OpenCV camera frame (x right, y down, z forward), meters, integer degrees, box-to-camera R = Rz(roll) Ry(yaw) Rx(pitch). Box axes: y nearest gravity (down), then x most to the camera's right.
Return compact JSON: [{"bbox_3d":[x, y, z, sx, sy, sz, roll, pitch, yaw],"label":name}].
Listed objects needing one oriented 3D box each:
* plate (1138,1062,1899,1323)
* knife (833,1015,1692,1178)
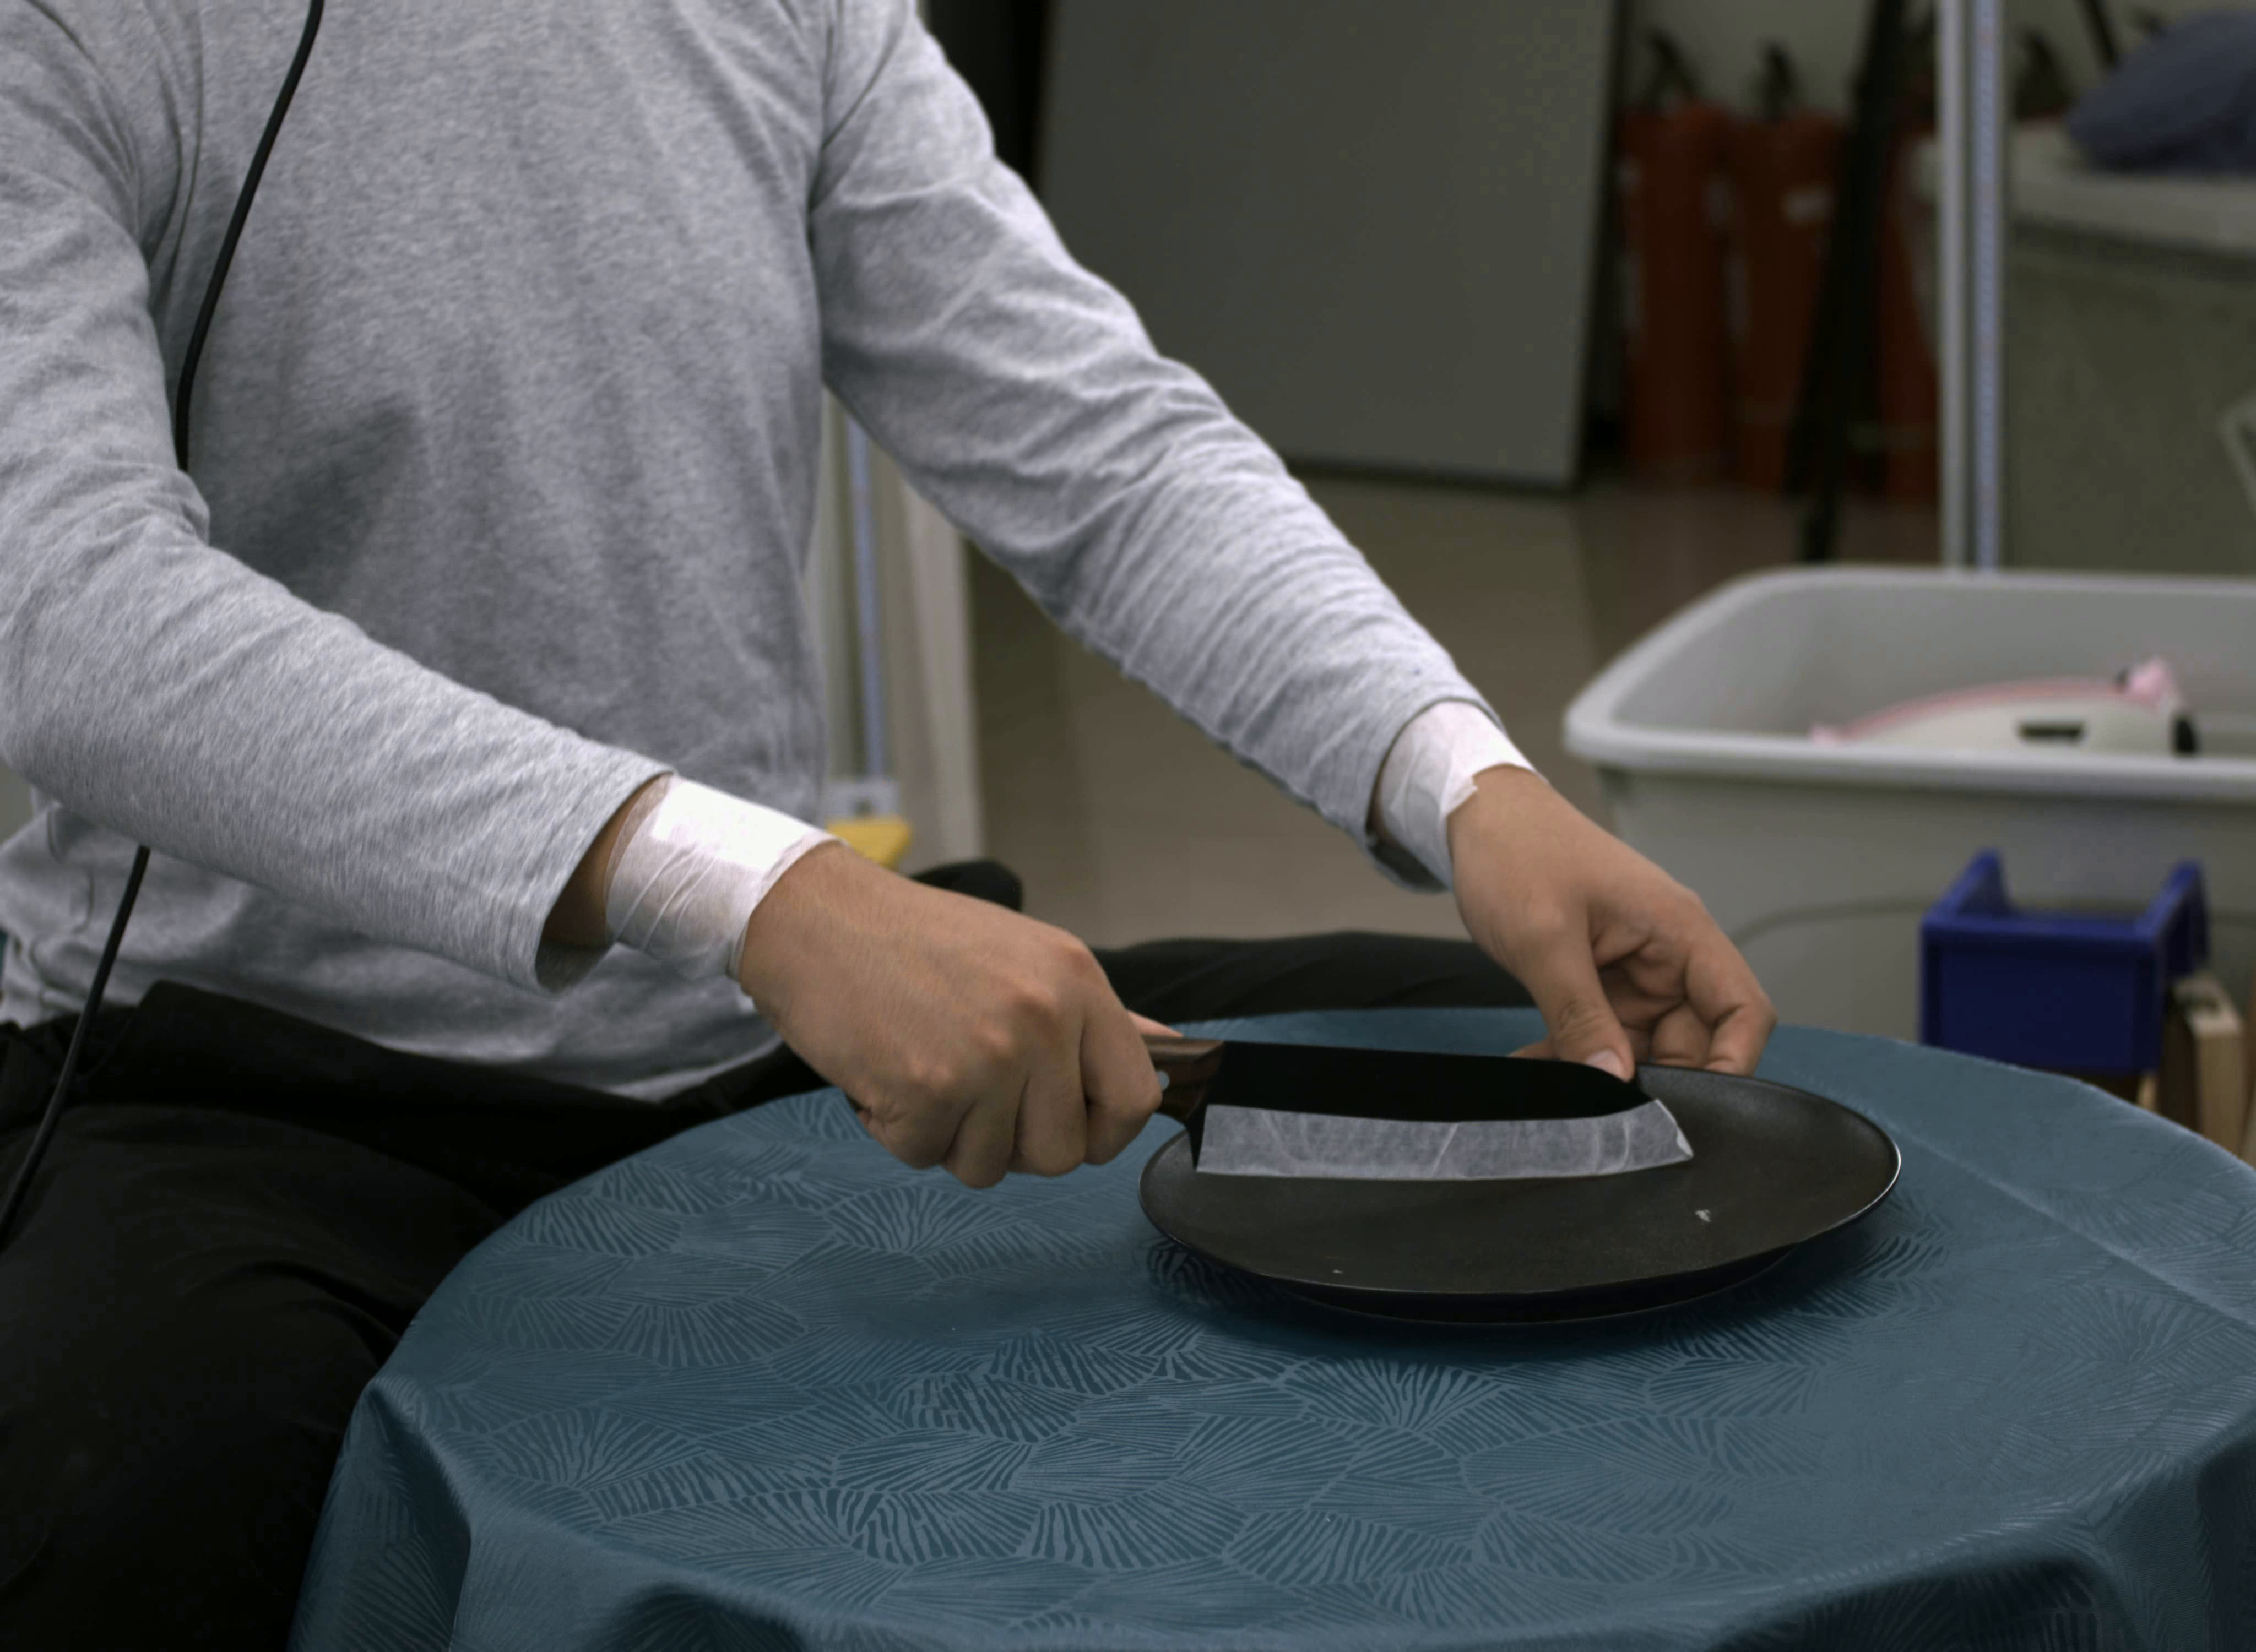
[{"bbox_3d":[0.123,0.118,1.704,0.241,0.024,0.245,-4,13,0],"label":"plate"},{"bbox_3d":[0.045,0.086,1.700,0.283,0.051,0.020,6,13,-13],"label":"knife"}]
